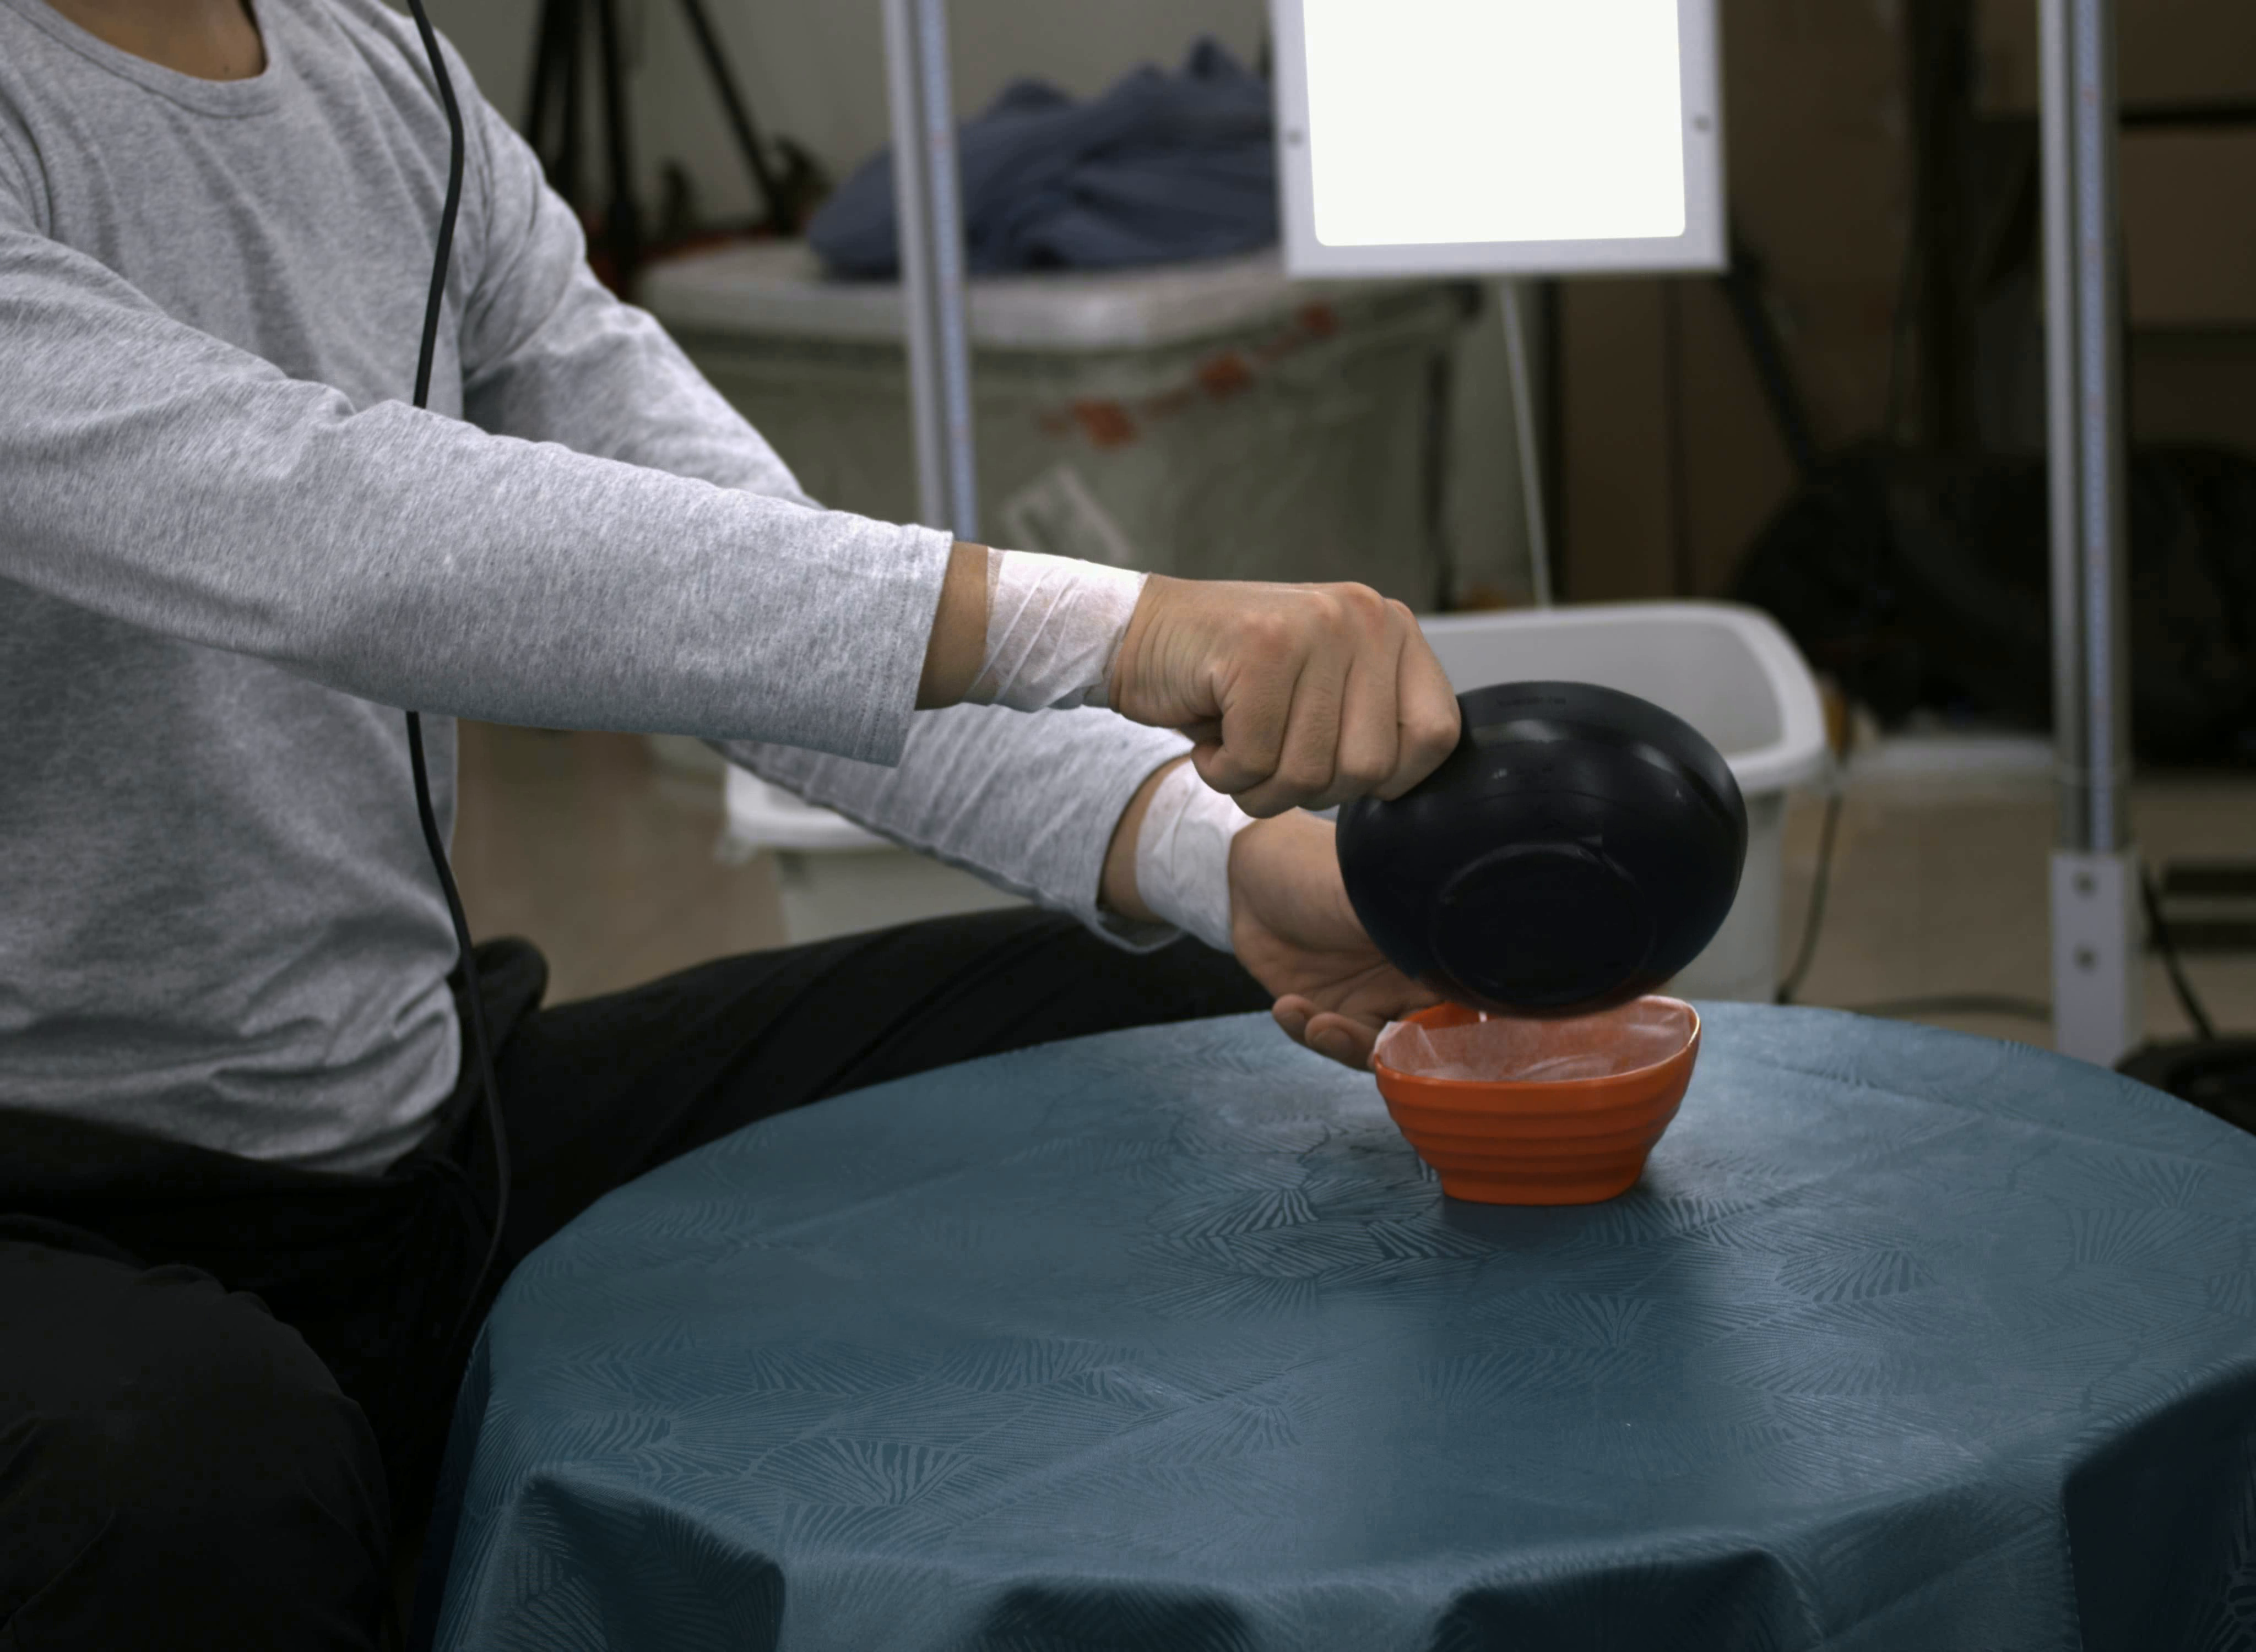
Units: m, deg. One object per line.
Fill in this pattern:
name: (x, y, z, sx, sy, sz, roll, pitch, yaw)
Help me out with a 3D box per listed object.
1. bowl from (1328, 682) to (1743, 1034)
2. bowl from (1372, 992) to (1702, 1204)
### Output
bowl: (0.137, 0.021, 1.815, 0.140, 0.140, 0.049, -4, 40, 2)
bowl: (0.141, 0.094, 1.874, 0.118, 0.051, 0.119, -4, 15, 0)
